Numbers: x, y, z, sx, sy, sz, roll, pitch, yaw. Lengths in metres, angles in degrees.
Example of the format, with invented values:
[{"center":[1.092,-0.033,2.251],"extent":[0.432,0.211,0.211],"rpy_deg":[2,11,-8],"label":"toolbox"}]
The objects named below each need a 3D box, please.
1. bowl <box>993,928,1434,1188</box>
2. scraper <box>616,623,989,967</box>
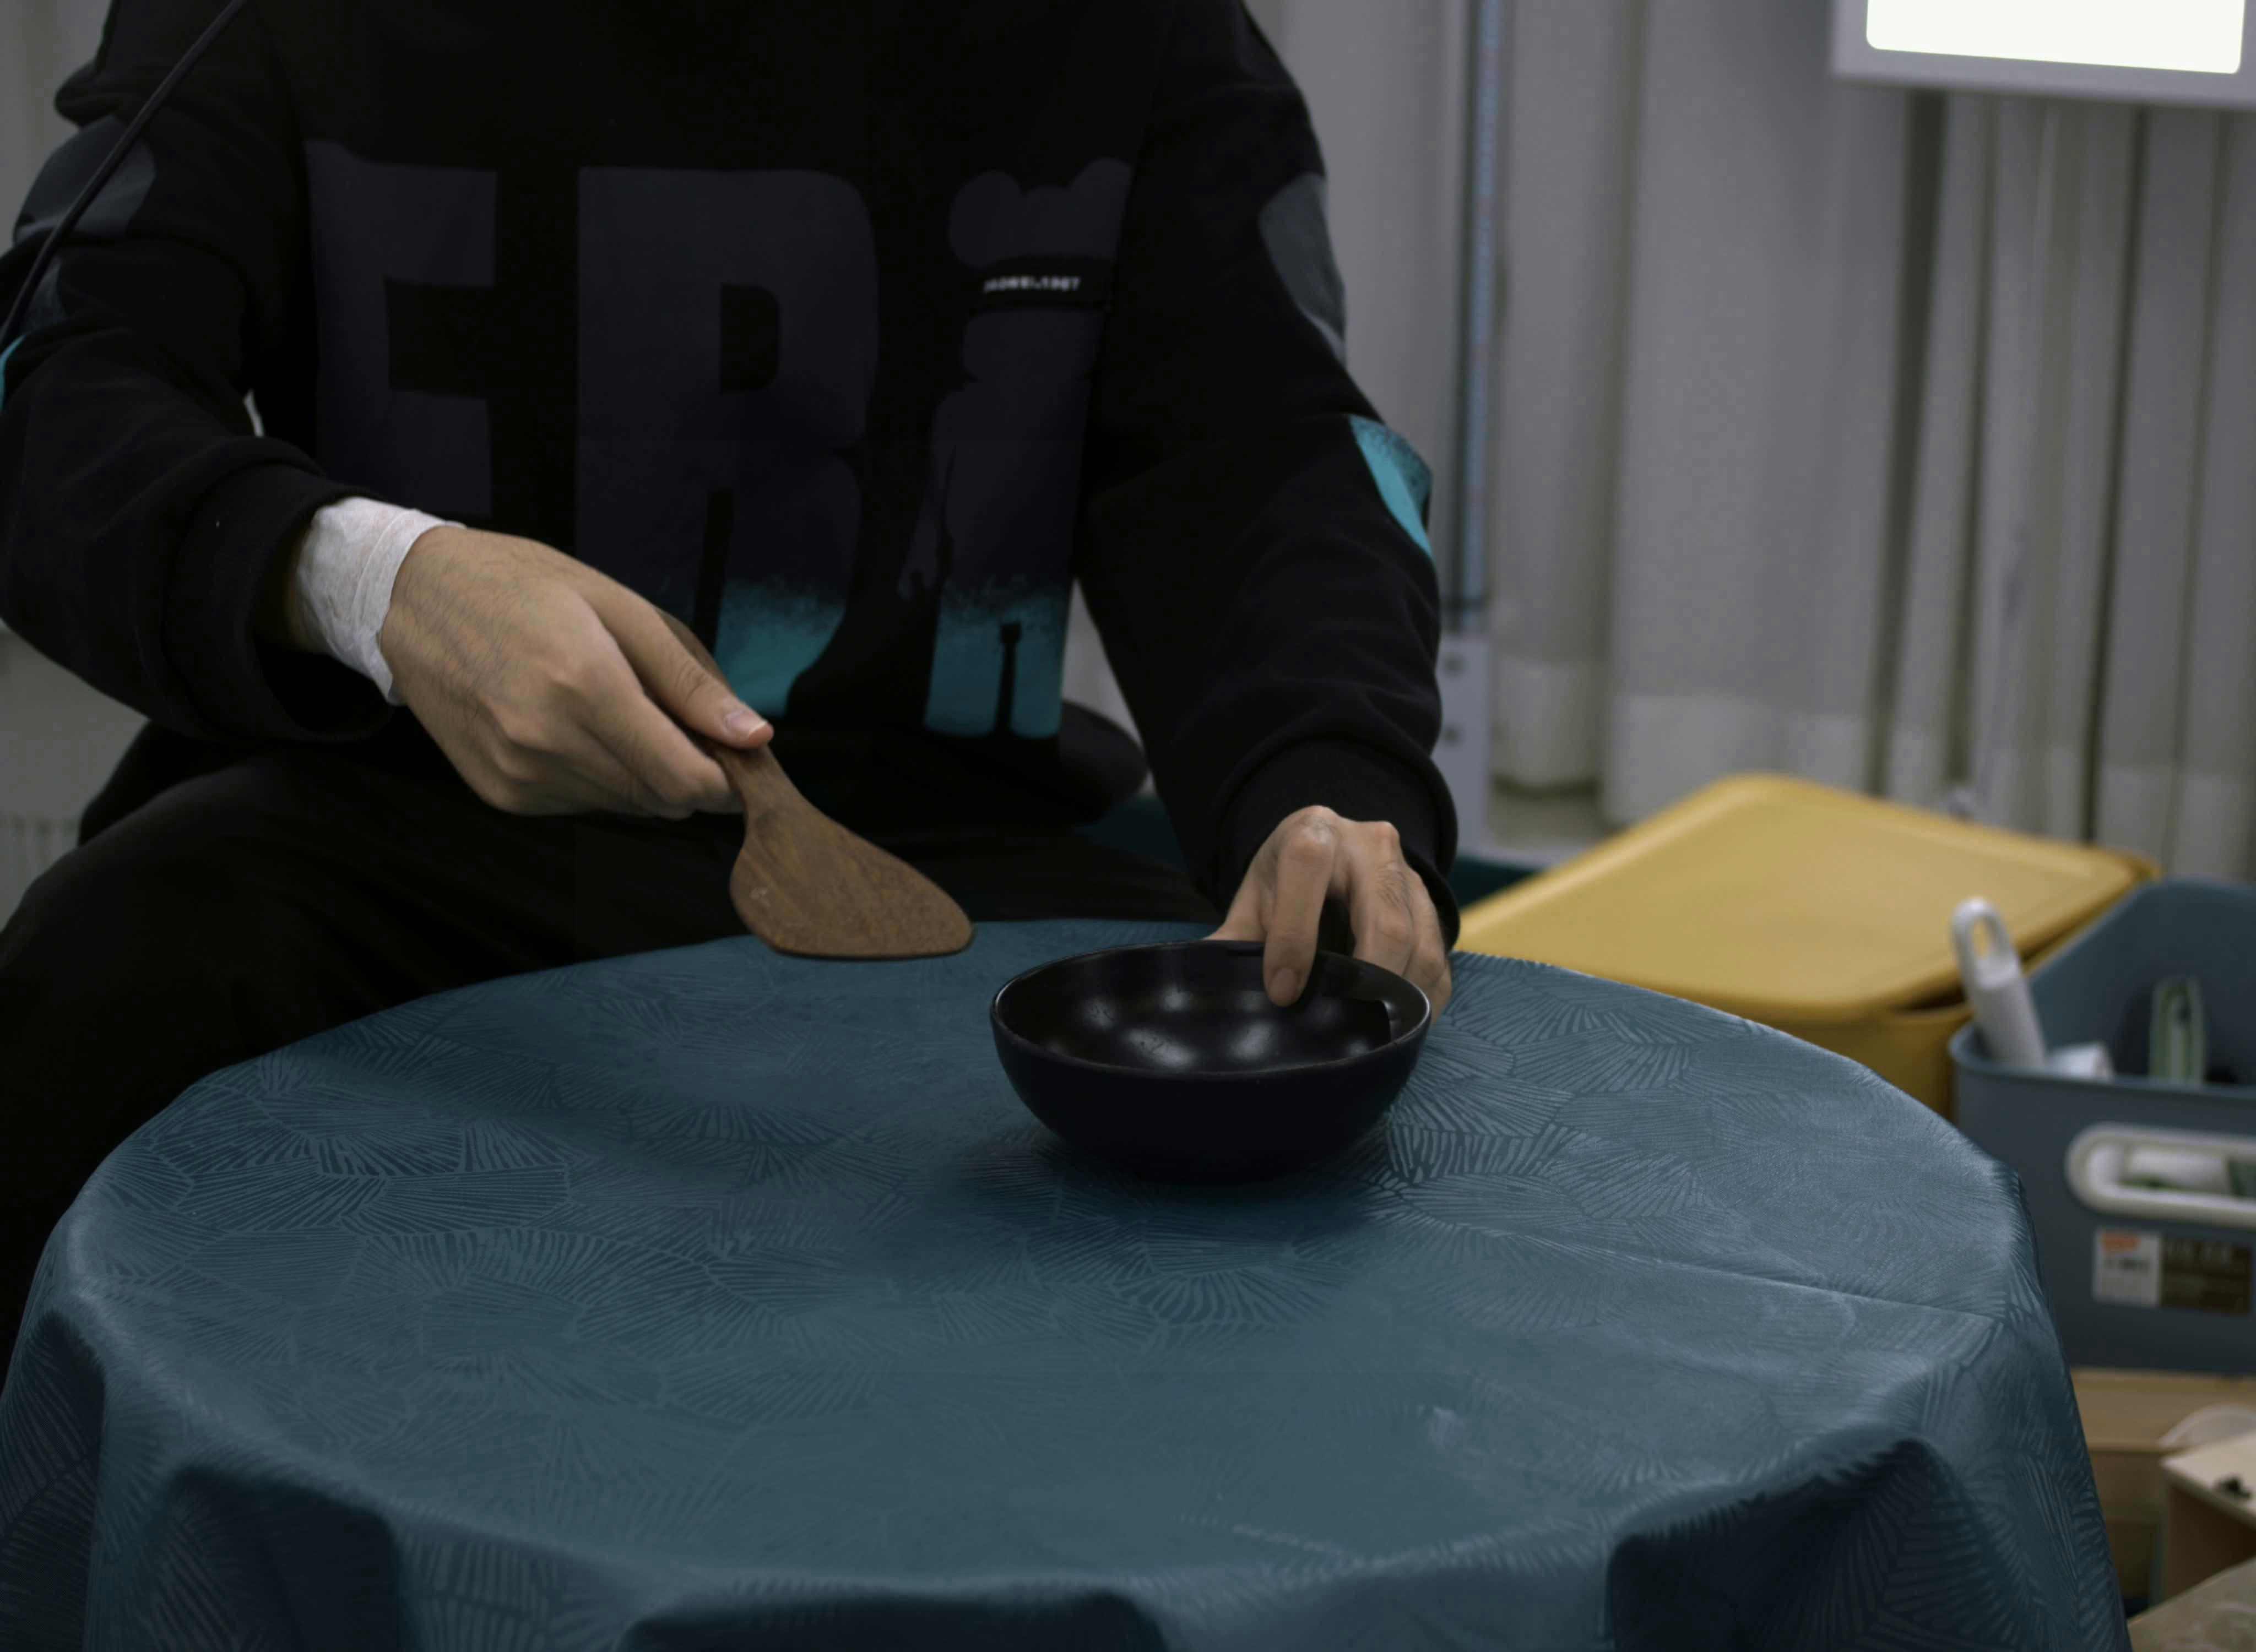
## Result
[{"center":[0.027,0.078,1.656],"extent":[0.139,0.050,0.139],"rpy_deg":[0,19,1],"label":"bowl"},{"center":[-0.114,-0.011,1.644],"extent":[0.076,0.011,0.208],"rpy_deg":[0,32,-29],"label":"scraper"}]
